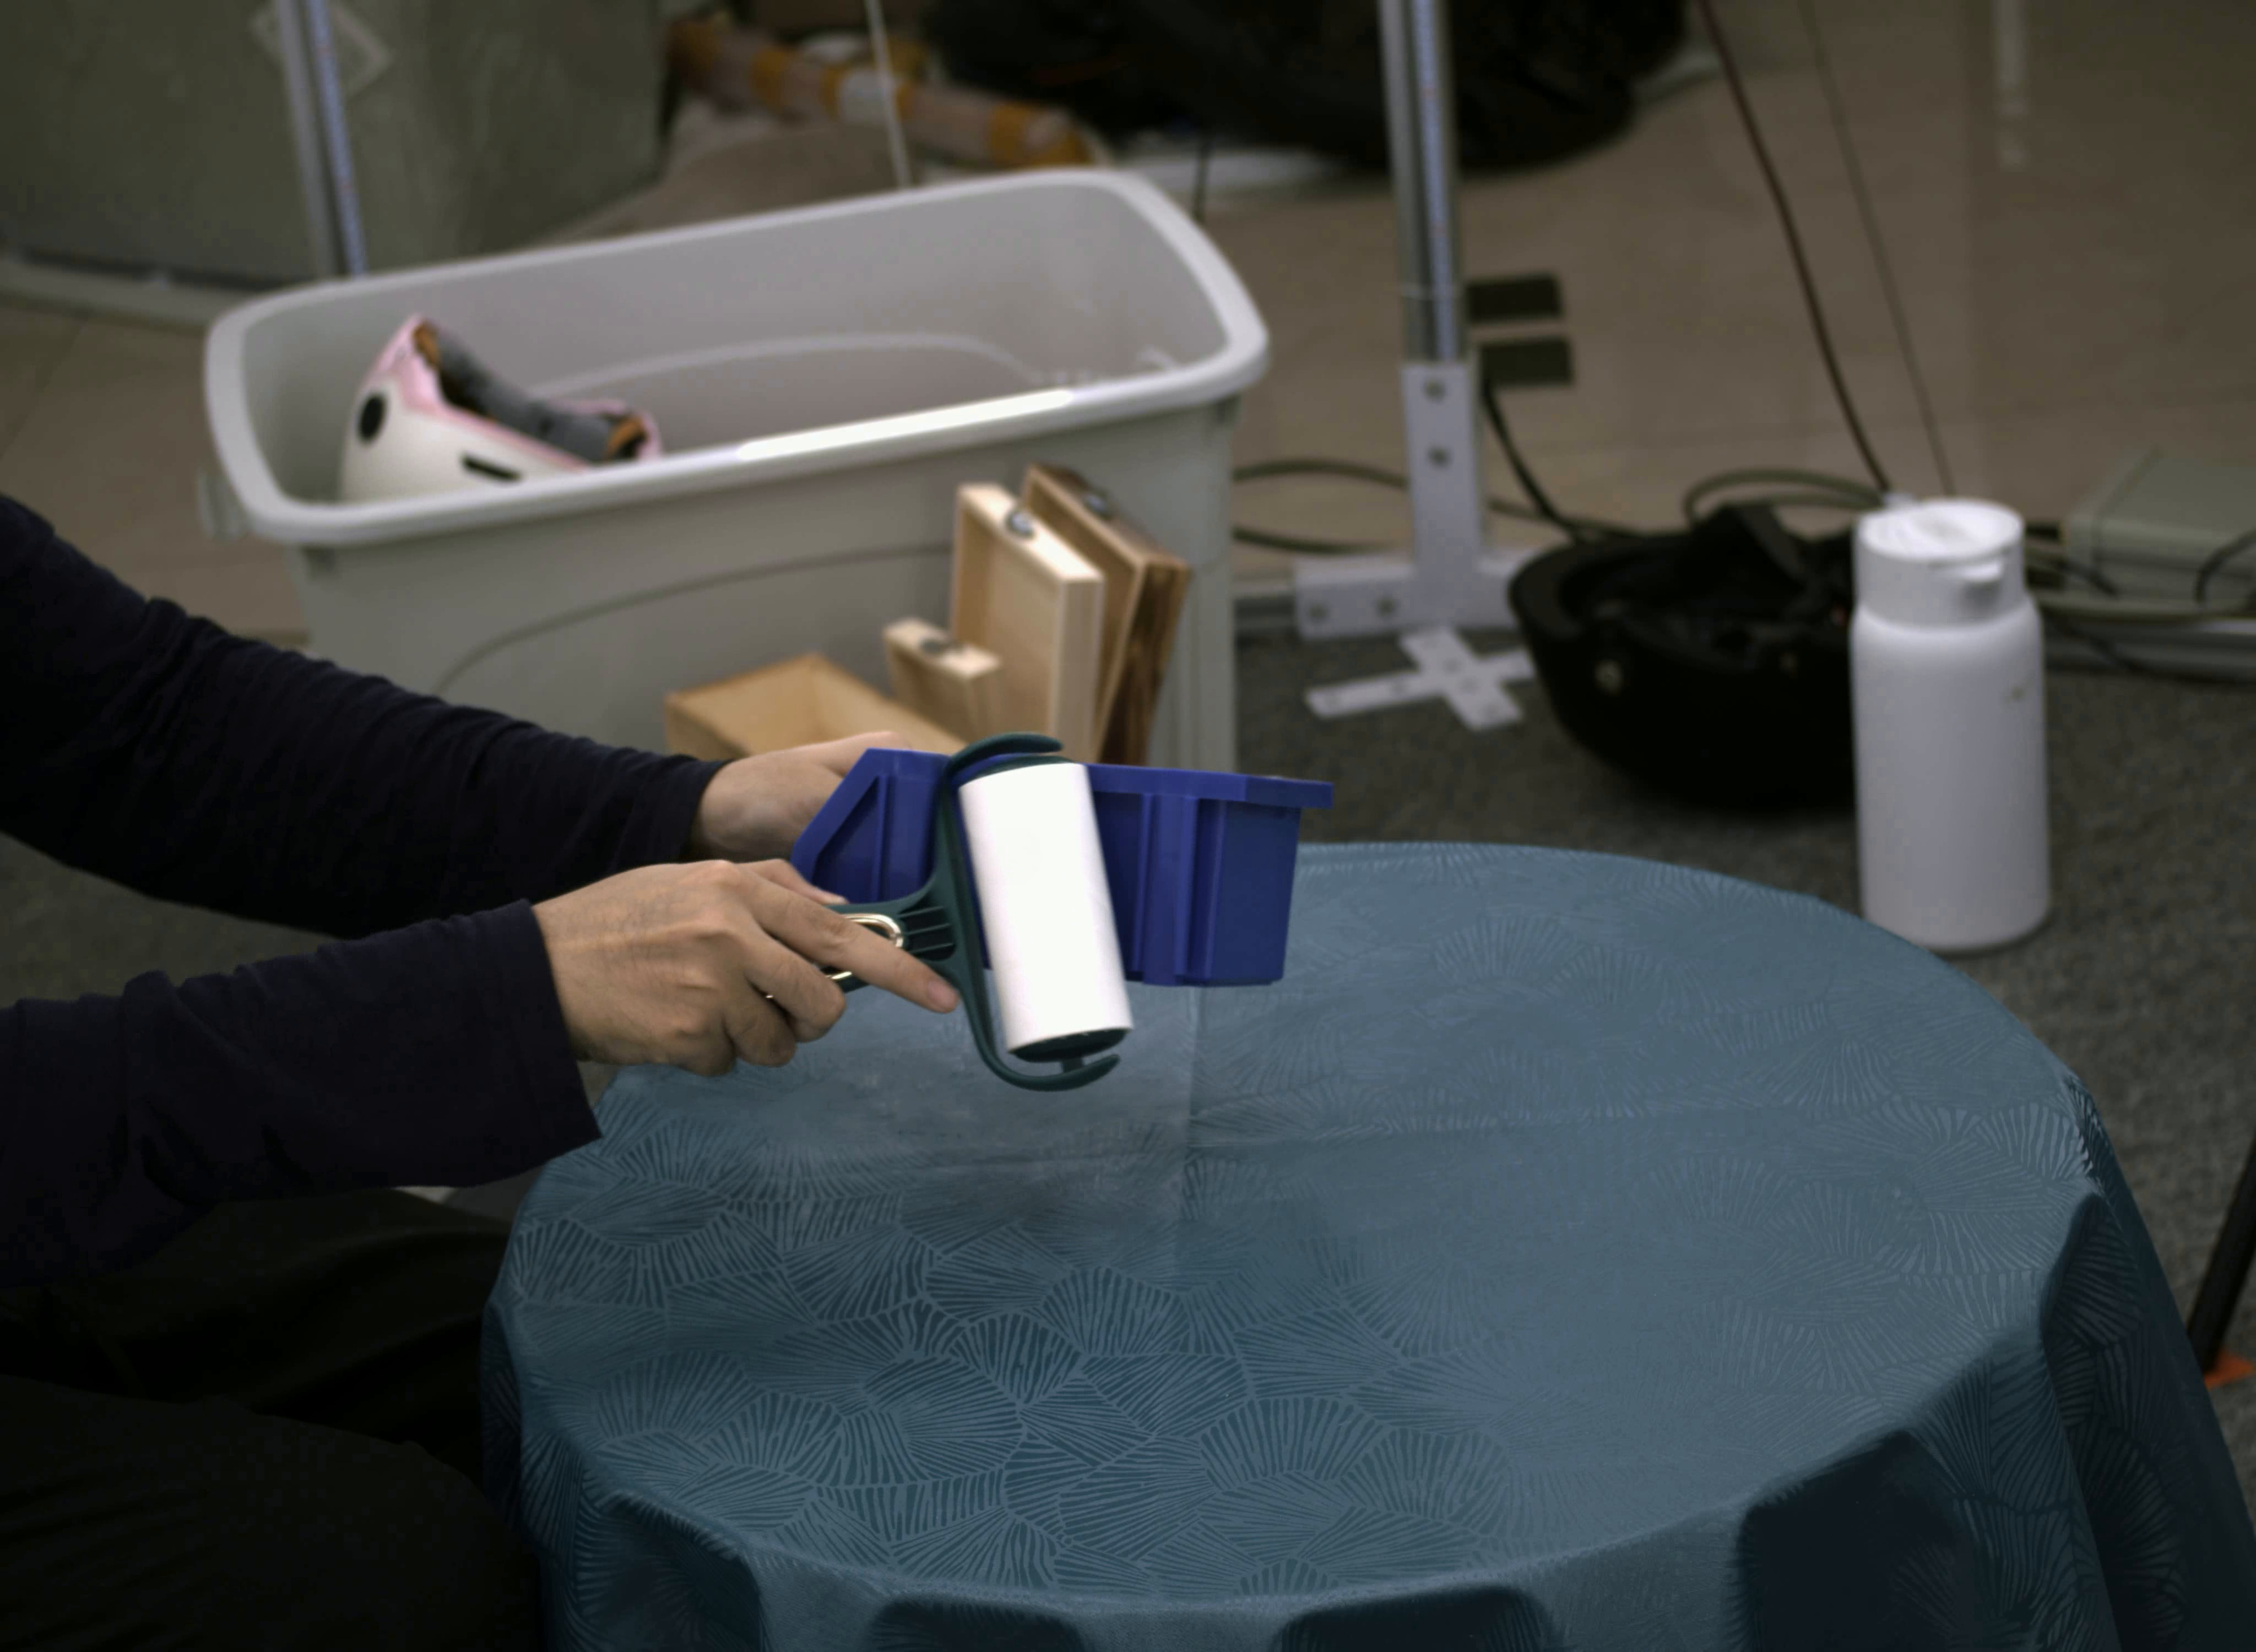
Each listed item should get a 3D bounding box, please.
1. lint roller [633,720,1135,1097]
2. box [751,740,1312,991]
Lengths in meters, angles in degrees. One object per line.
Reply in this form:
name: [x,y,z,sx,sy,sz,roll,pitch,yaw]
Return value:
lint roller: [-0.095,0.044,2.068,0.180,0.134,0.048,-11,-6,1]
box: [-0.037,0.014,2.155,0.179,0.082,0.124,8,3,19]
